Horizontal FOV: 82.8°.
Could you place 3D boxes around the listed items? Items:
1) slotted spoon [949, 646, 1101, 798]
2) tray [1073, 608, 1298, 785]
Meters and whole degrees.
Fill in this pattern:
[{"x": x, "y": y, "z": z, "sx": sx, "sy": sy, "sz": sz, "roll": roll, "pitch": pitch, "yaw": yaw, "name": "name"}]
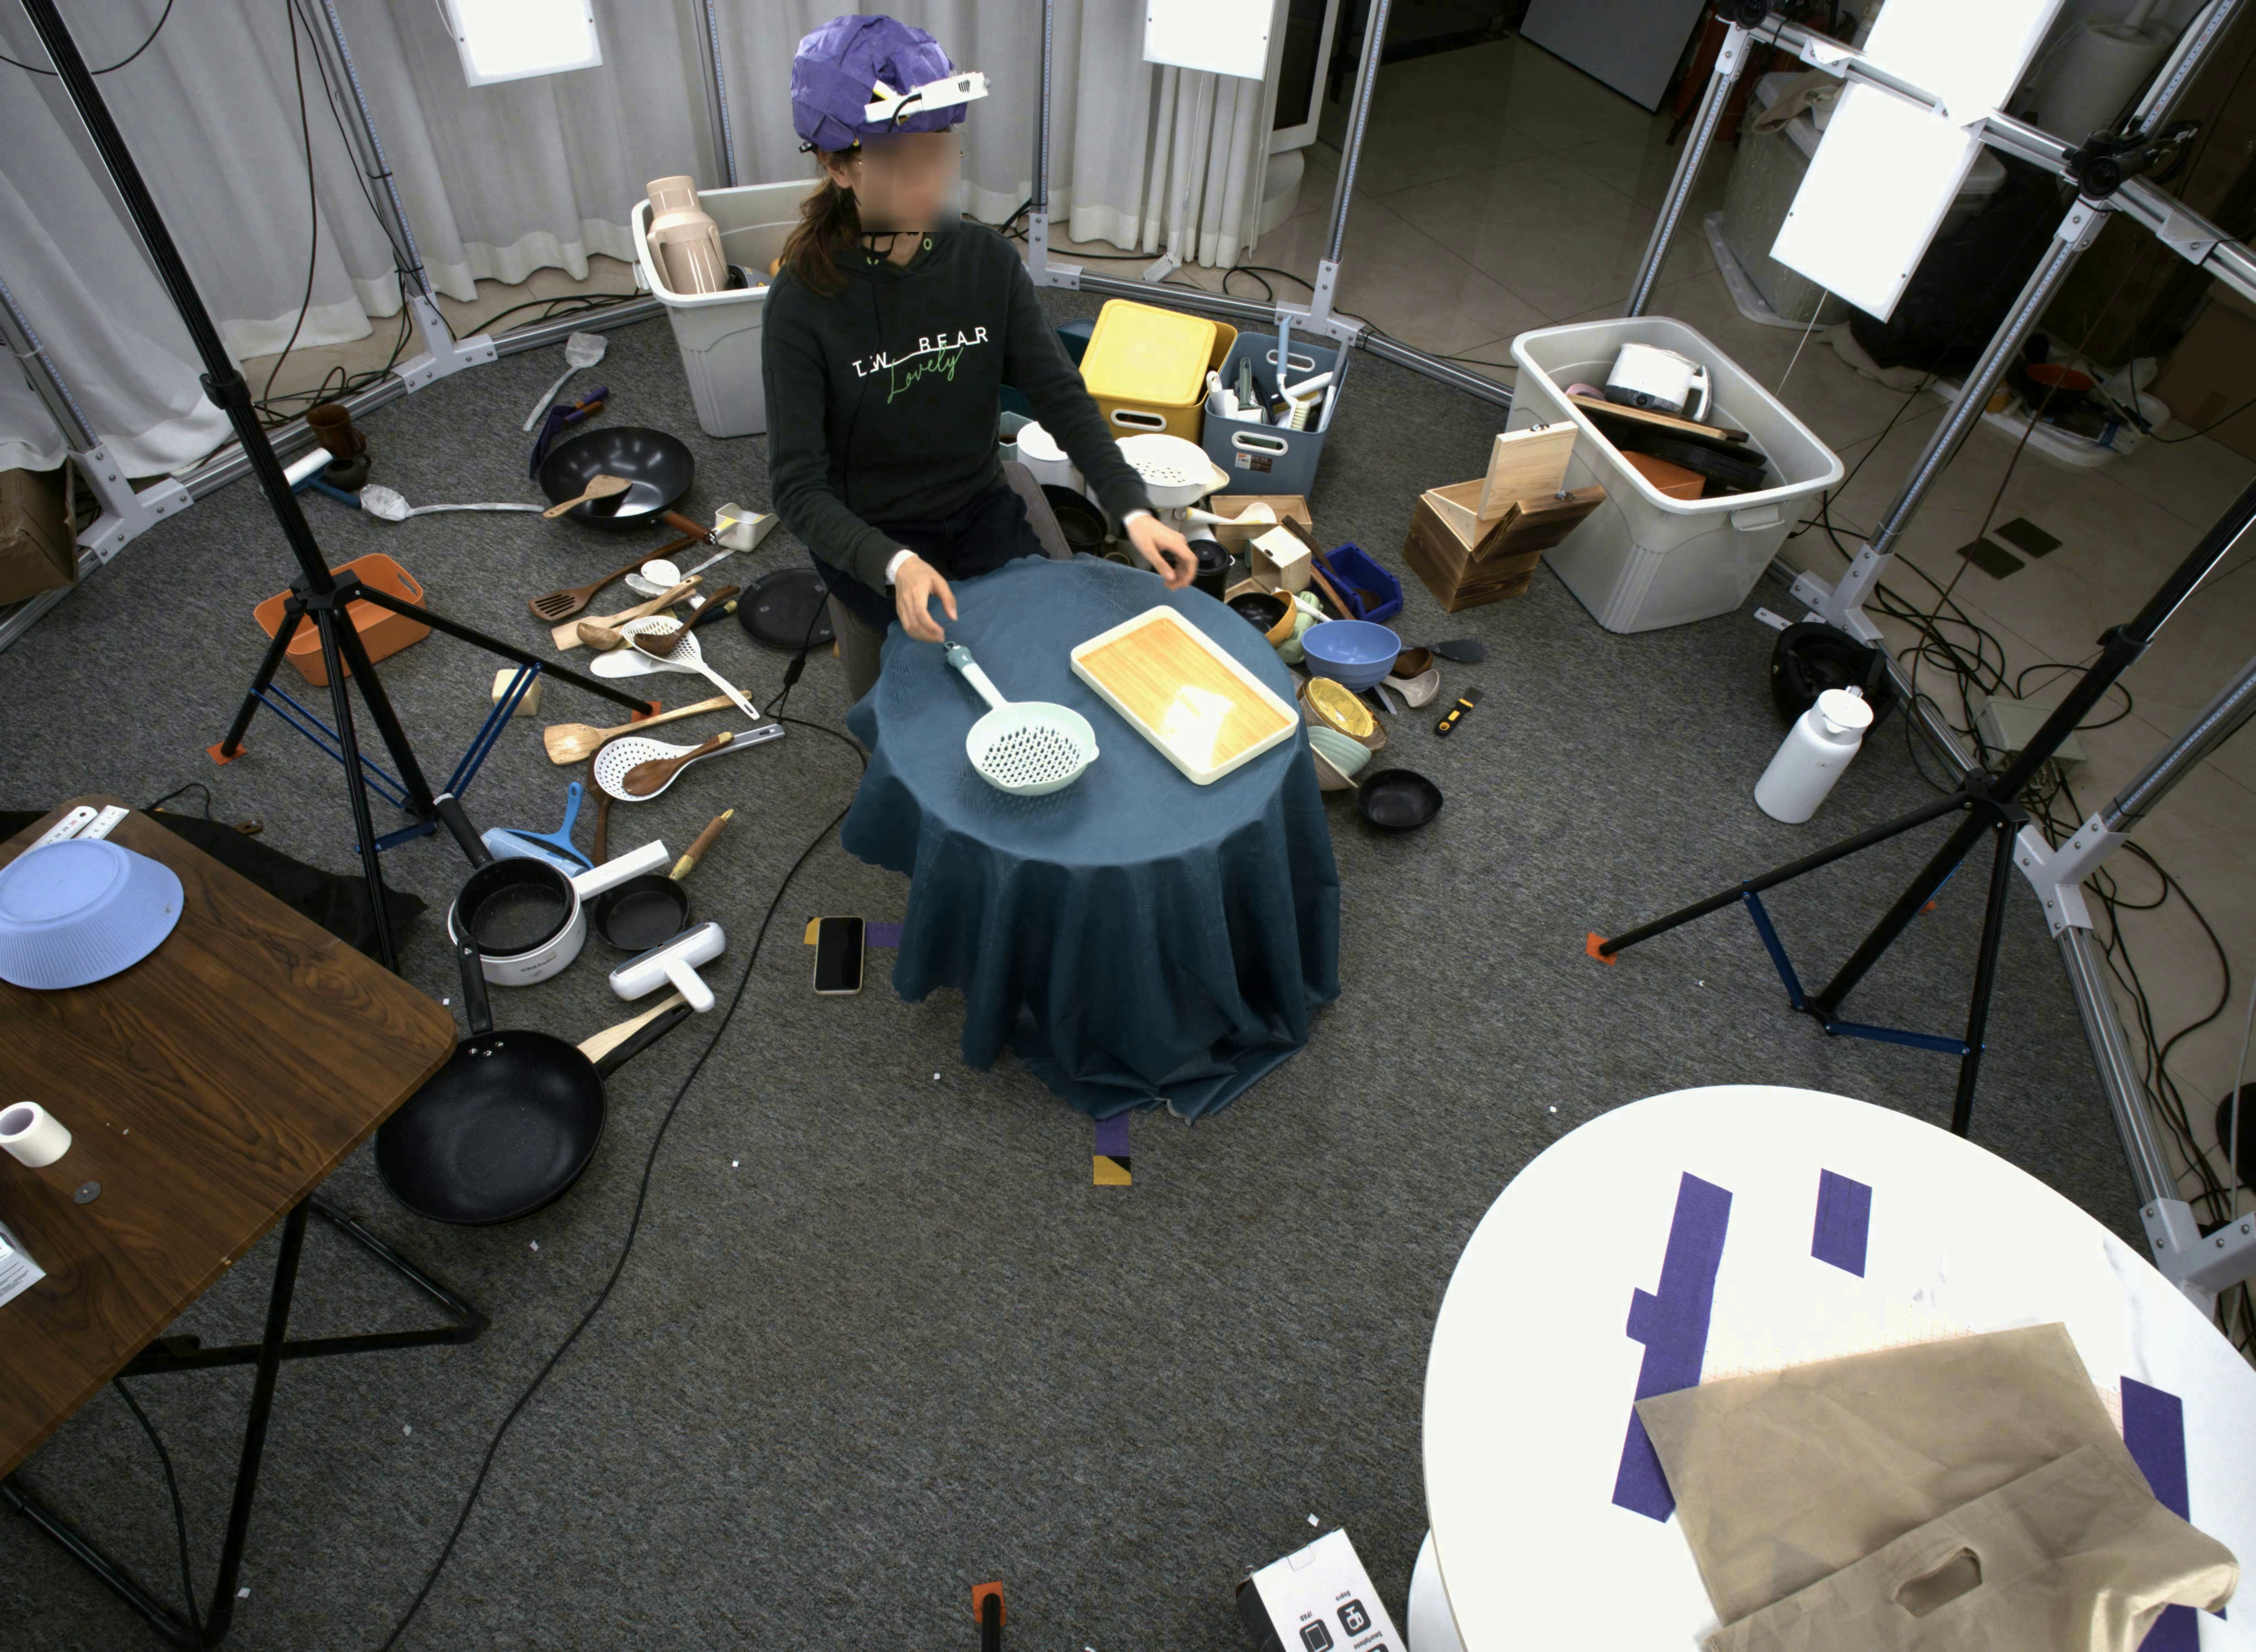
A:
[{"x": -0.173, "y": -0.160, "z": 1.769, "sx": 0.170, "sy": 0.073, "sz": 0.367, "roll": -20, "pitch": 53, "yaw": -20, "name": "slotted spoon"}, {"x": 0.079, "y": -0.191, "z": 1.839, "sx": 0.193, "sy": 0.027, "sz": 0.305, "roll": -29, "pitch": 57, "yaw": -26, "name": "tray"}]
